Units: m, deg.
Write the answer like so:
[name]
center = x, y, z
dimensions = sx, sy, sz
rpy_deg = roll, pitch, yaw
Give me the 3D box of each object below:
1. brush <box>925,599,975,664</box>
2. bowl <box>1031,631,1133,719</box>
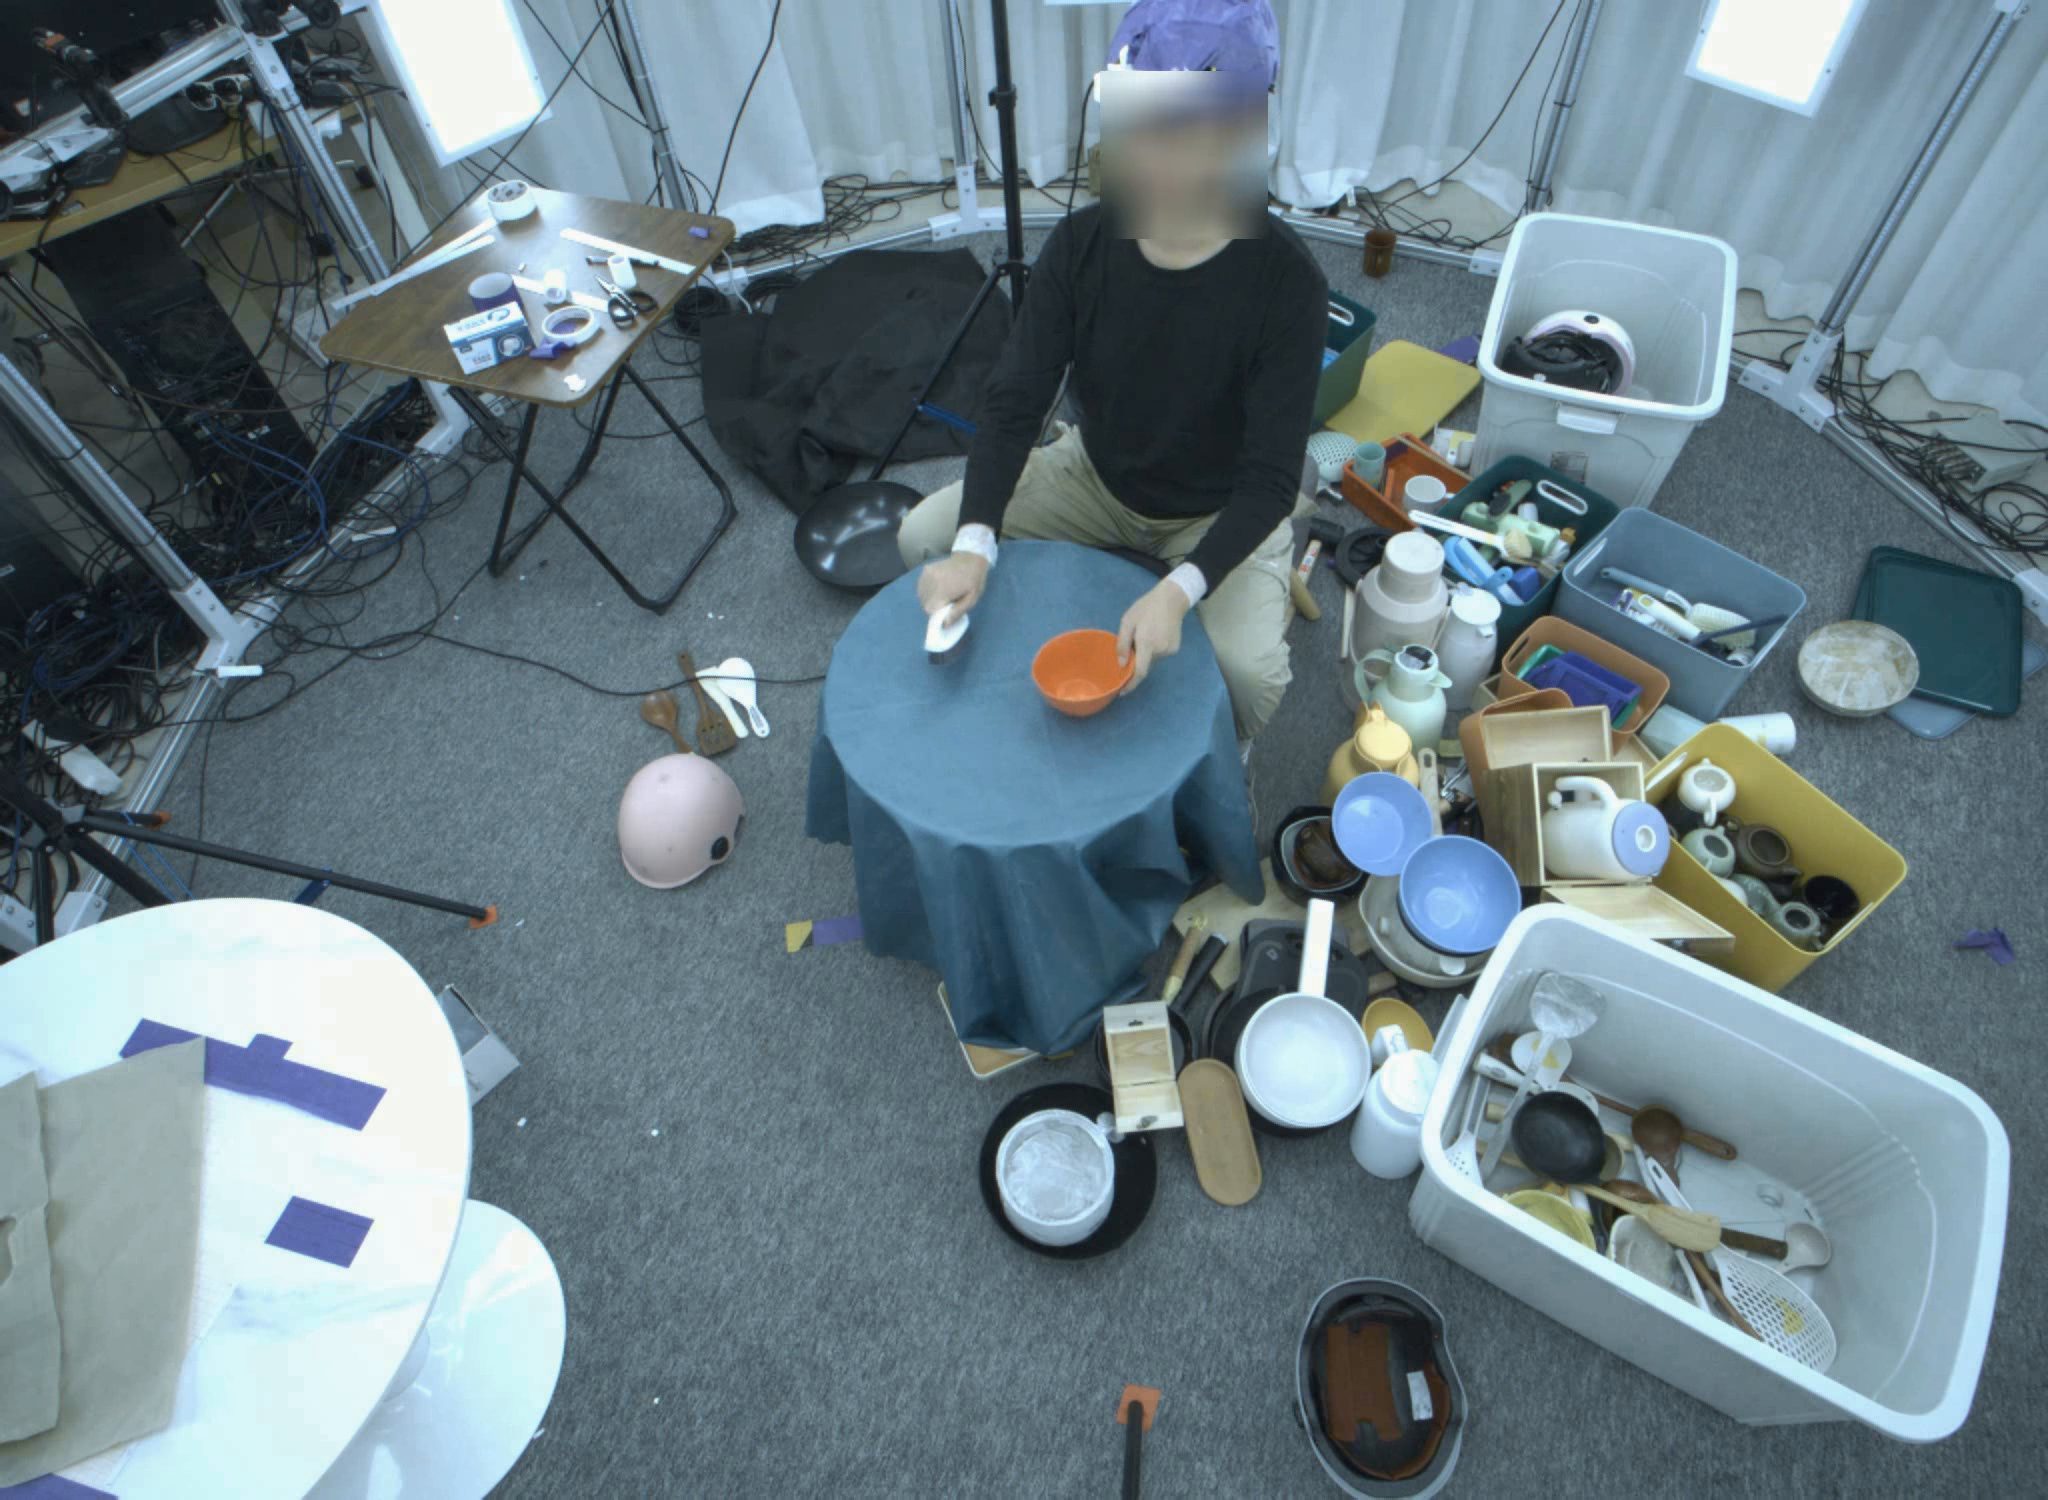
[brush]
center = -0.114, -0.183, 1.819
dimensions = 0.049, 0.073, 0.099
rpy_deg = 6, 39, 24
[bowl]
center = 0.083, -0.097, 1.794
dimensions = 0.148, 0.106, 0.146
rpy_deg = 0, 52, 1
